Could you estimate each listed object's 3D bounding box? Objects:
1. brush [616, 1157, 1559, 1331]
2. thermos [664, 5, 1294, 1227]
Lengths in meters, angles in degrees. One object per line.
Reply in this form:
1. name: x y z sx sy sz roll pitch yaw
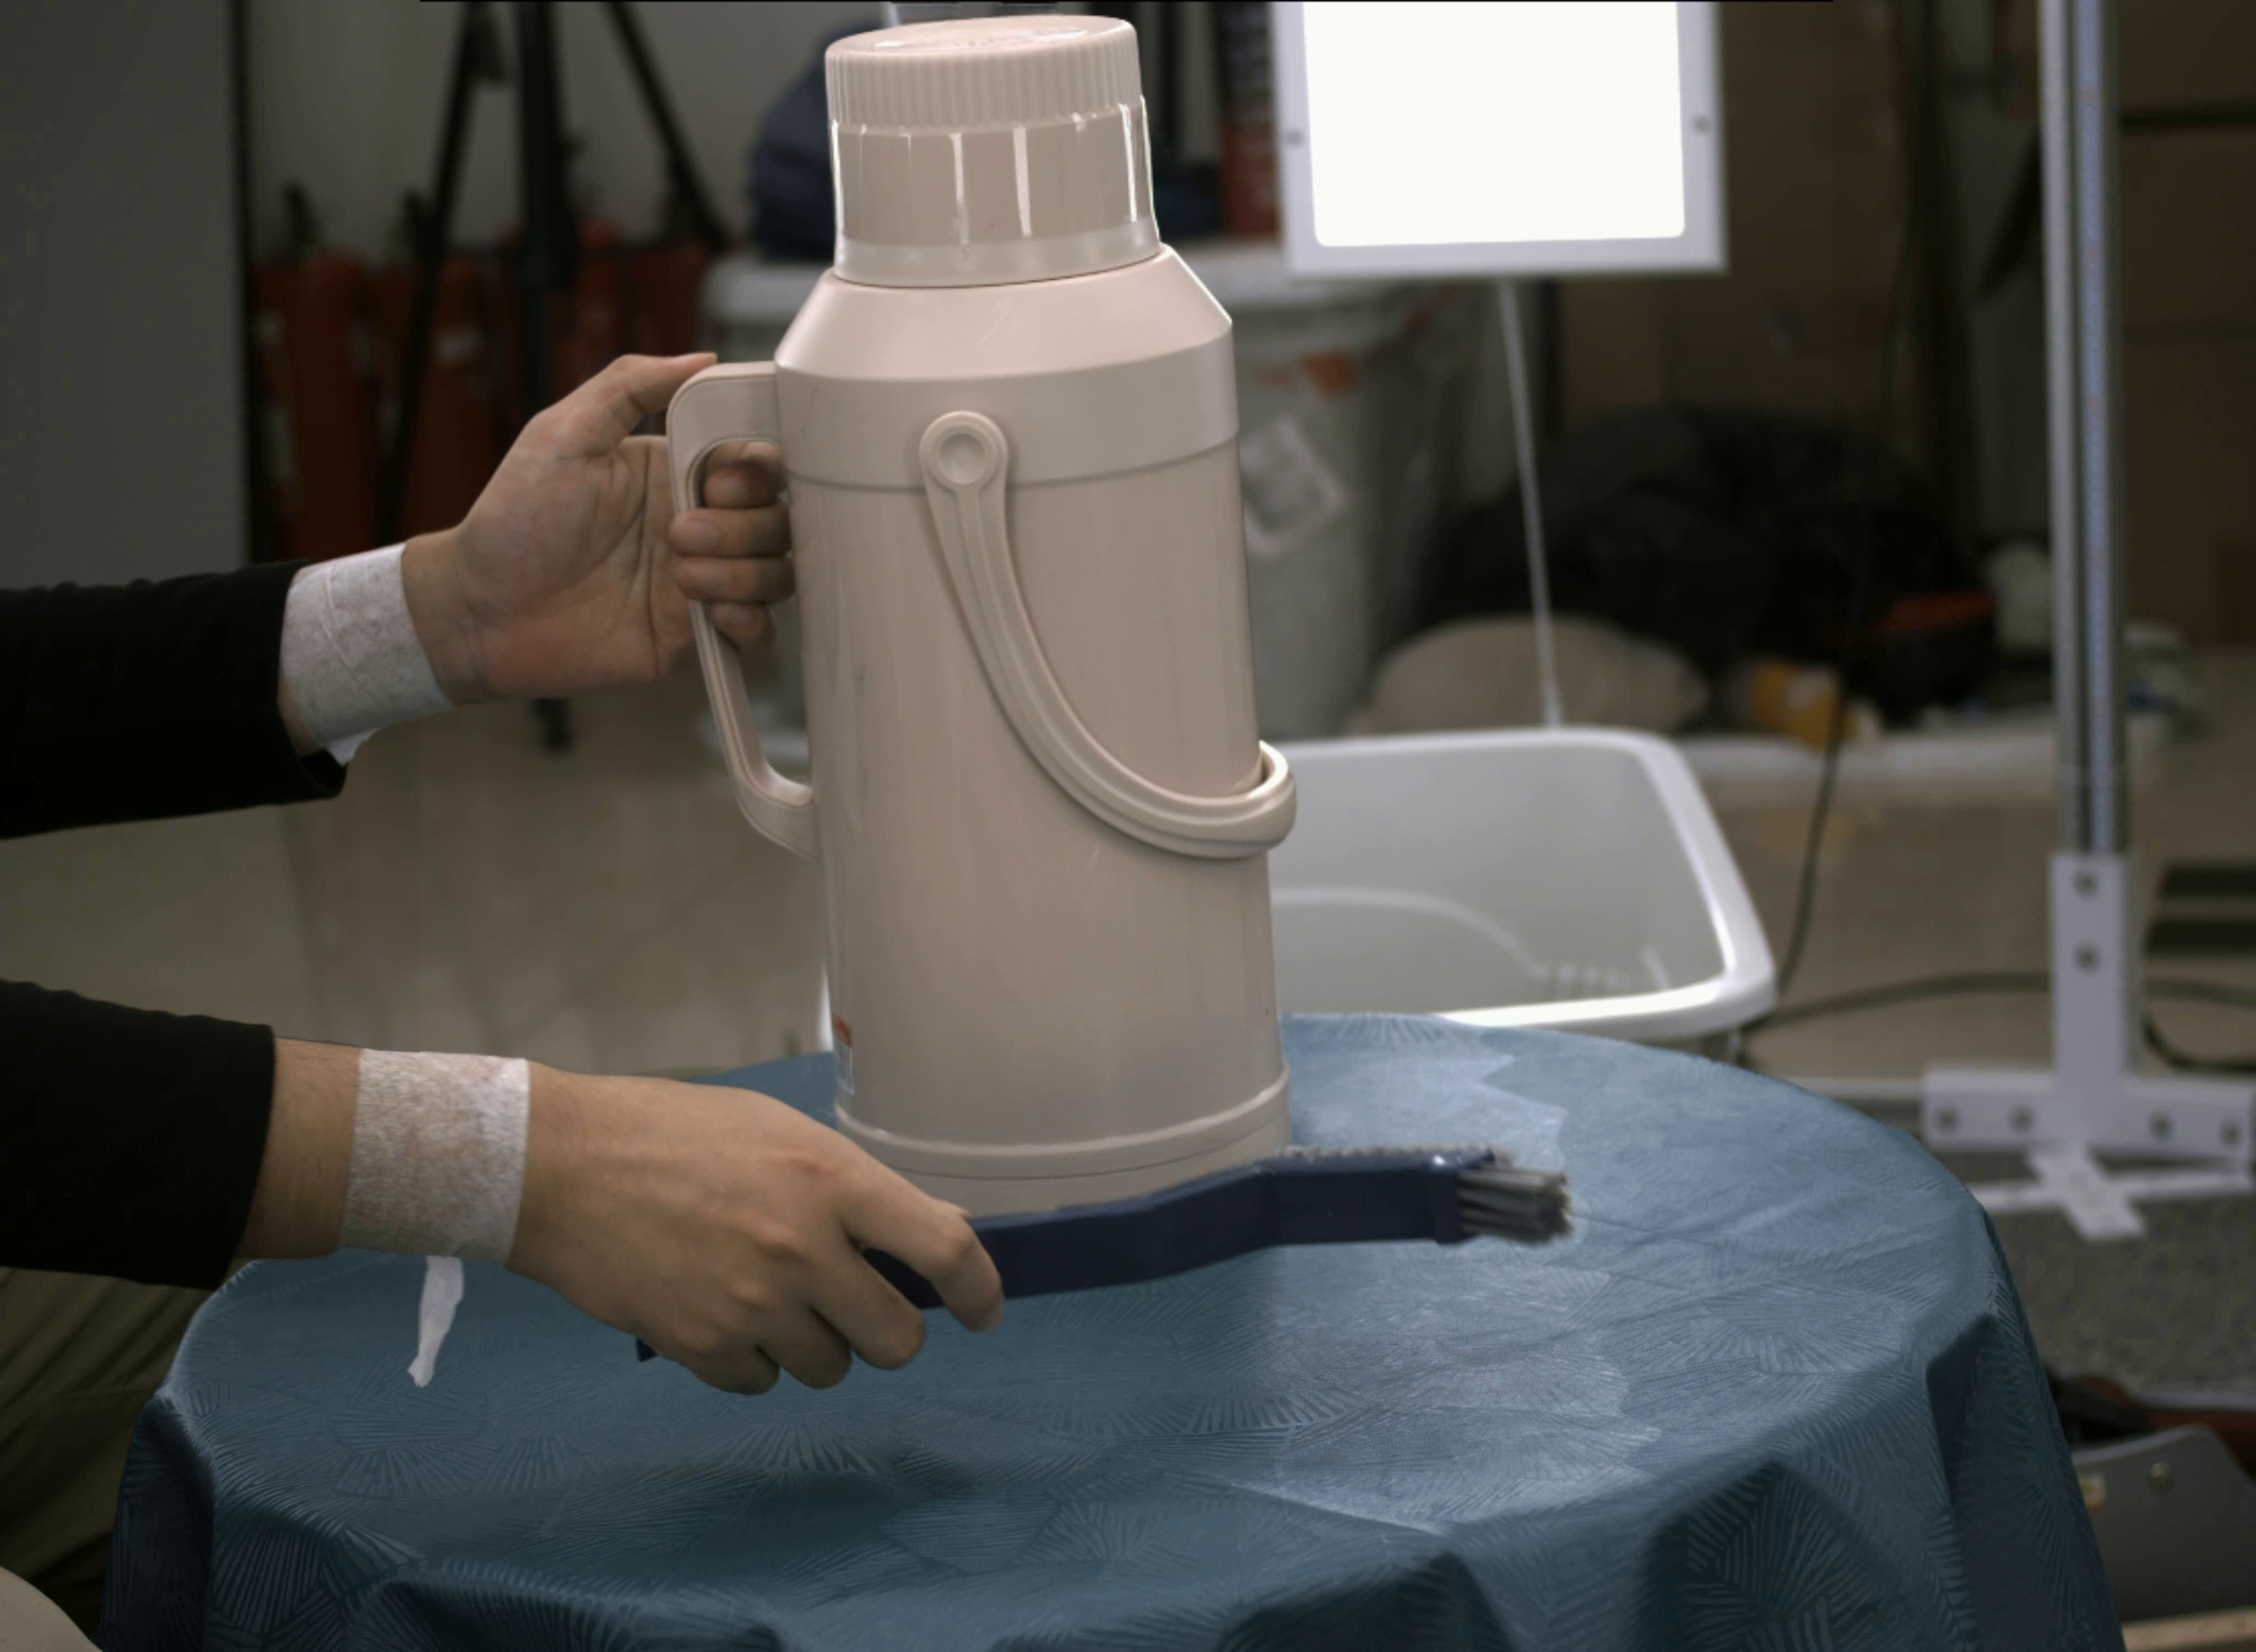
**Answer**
1. brush: -0.014 0.124 1.640 0.271 0.033 0.096 -8 13 -6
2. thermos: -0.050 -0.071 1.886 0.208 0.408 0.173 -2 16 10
